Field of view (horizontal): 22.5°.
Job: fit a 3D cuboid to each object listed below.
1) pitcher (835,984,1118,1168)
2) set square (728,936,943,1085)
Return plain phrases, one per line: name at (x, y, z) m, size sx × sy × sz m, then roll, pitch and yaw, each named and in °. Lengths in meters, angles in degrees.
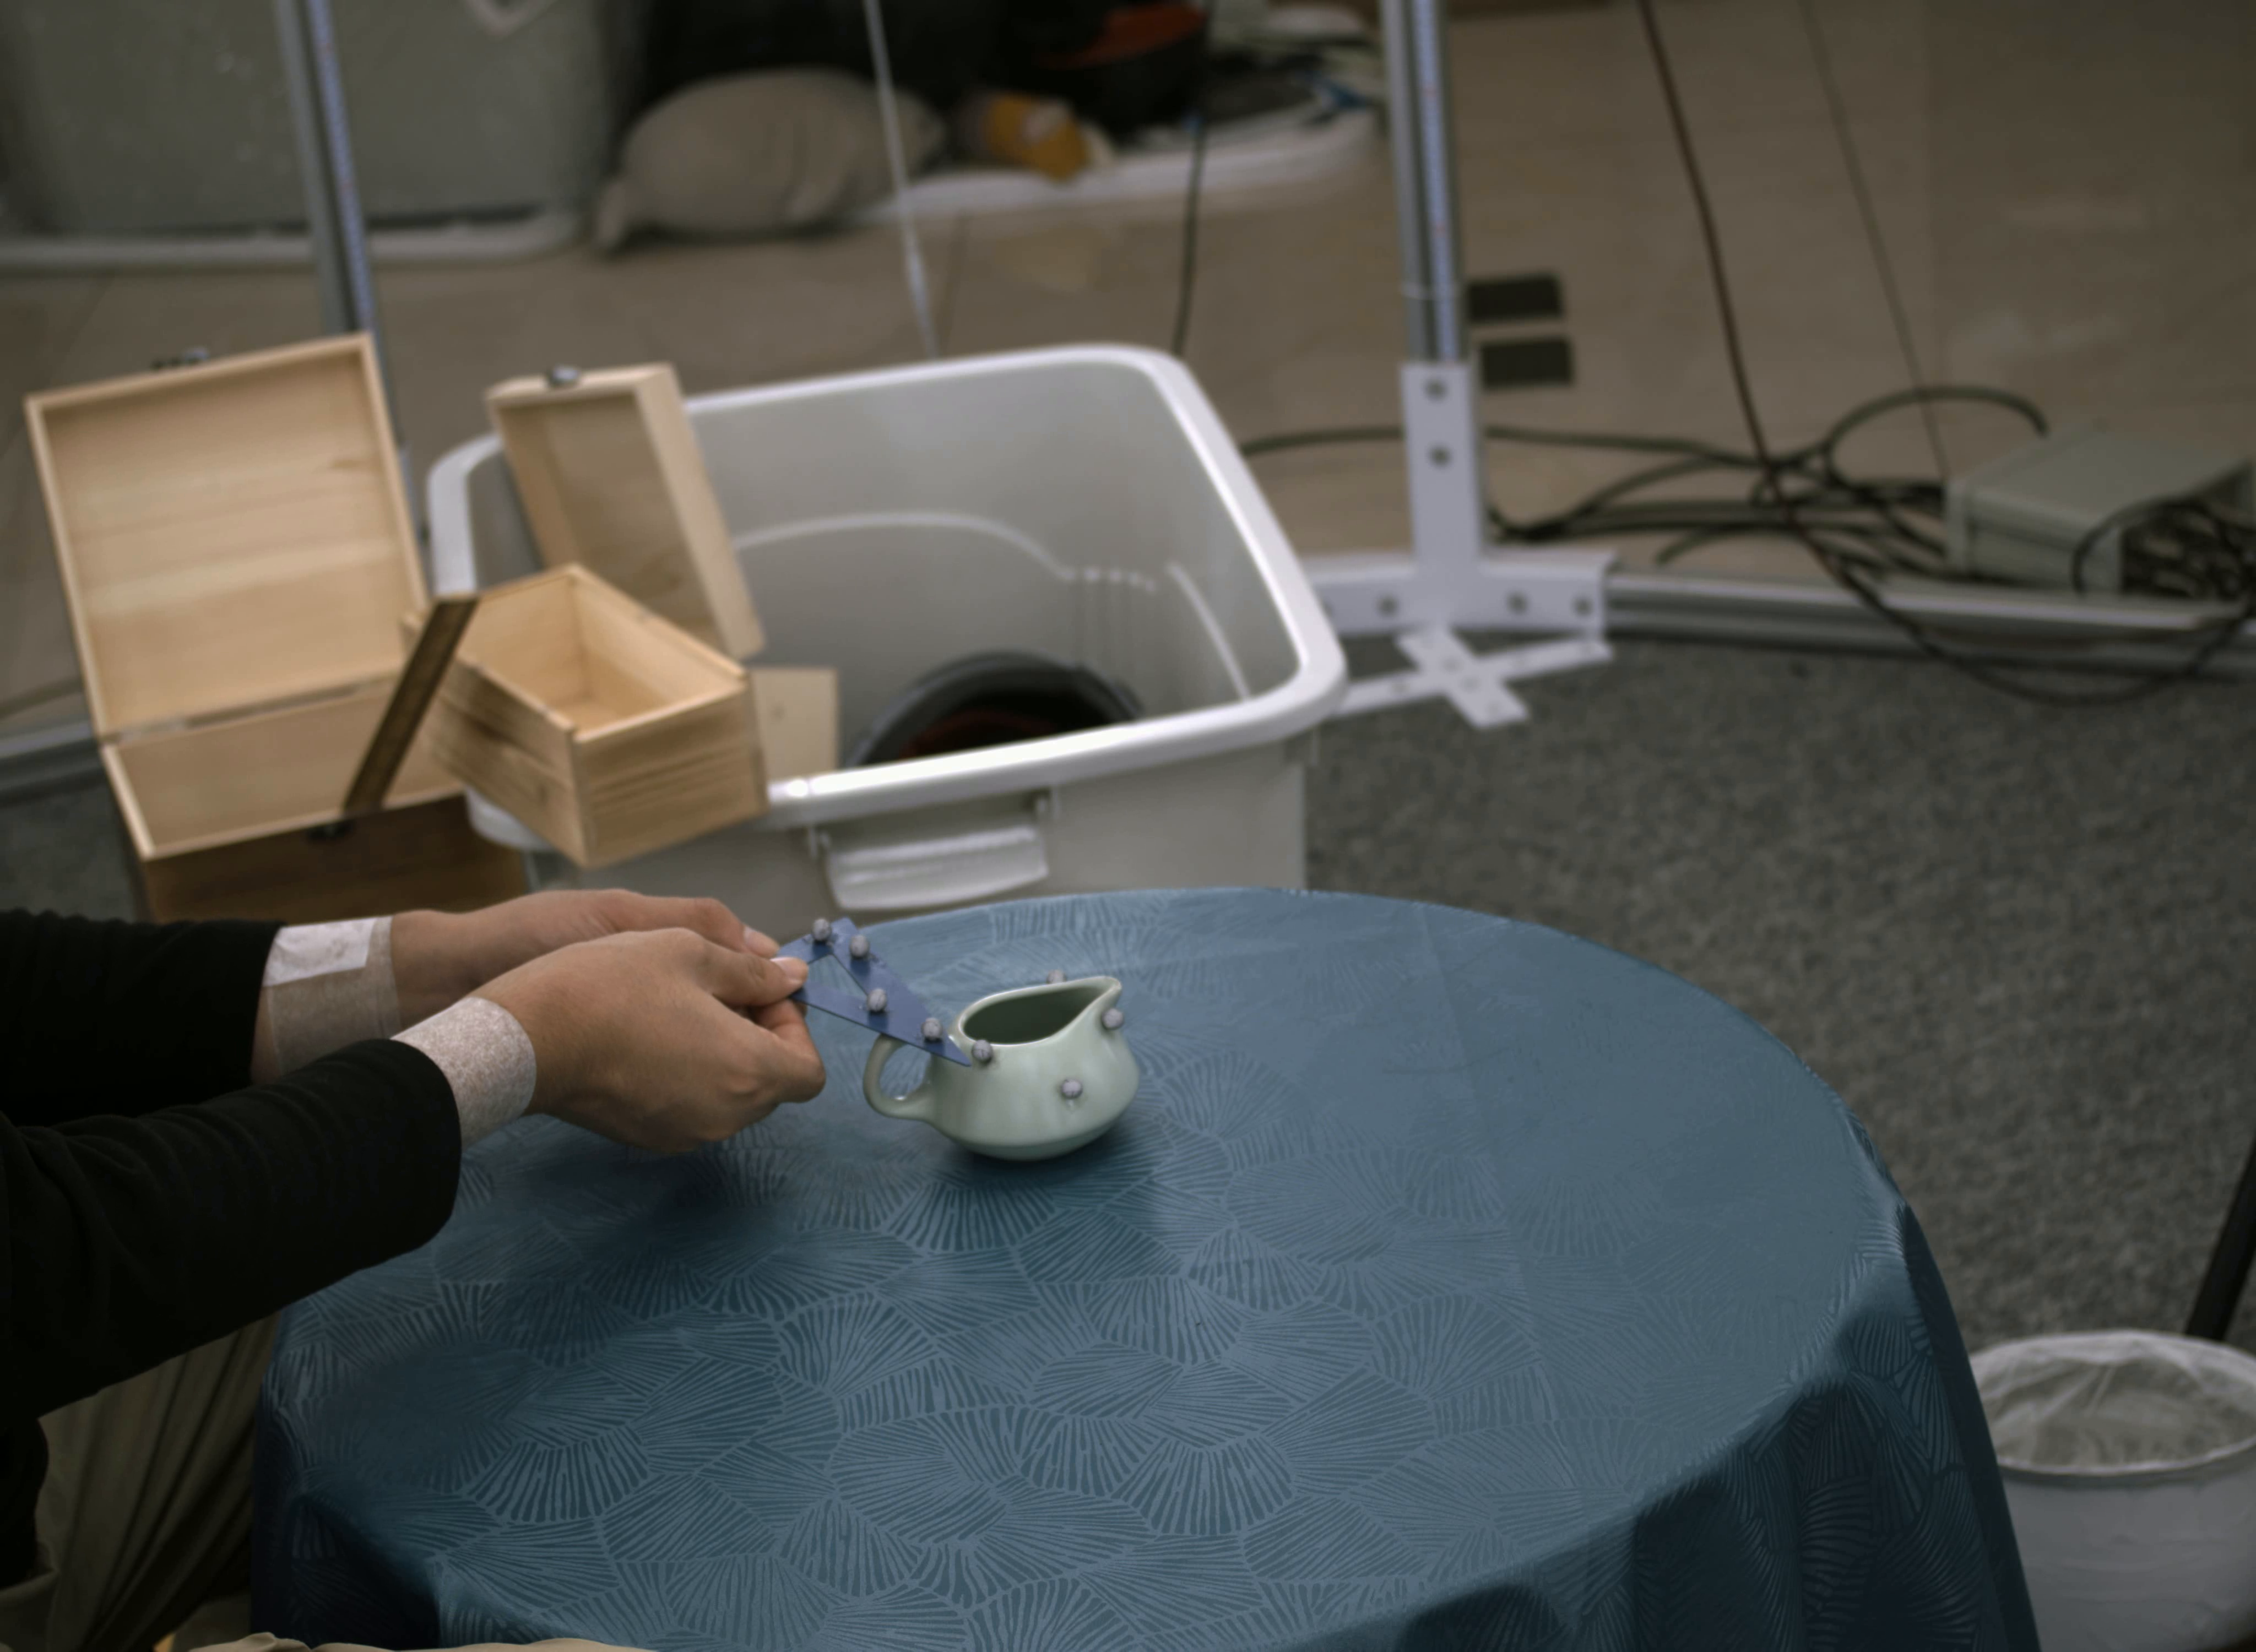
pitcher at (-0.061, 0.092, 2.181) m, size 0.108 × 0.061 × 0.084 m, roll 8°, pitch 34°, yaw -10°
set square at (-0.114, 0.071, 2.168) m, size 0.061 × 0.006 × 0.130 m, roll -5°, pitch 26°, yaw -19°
